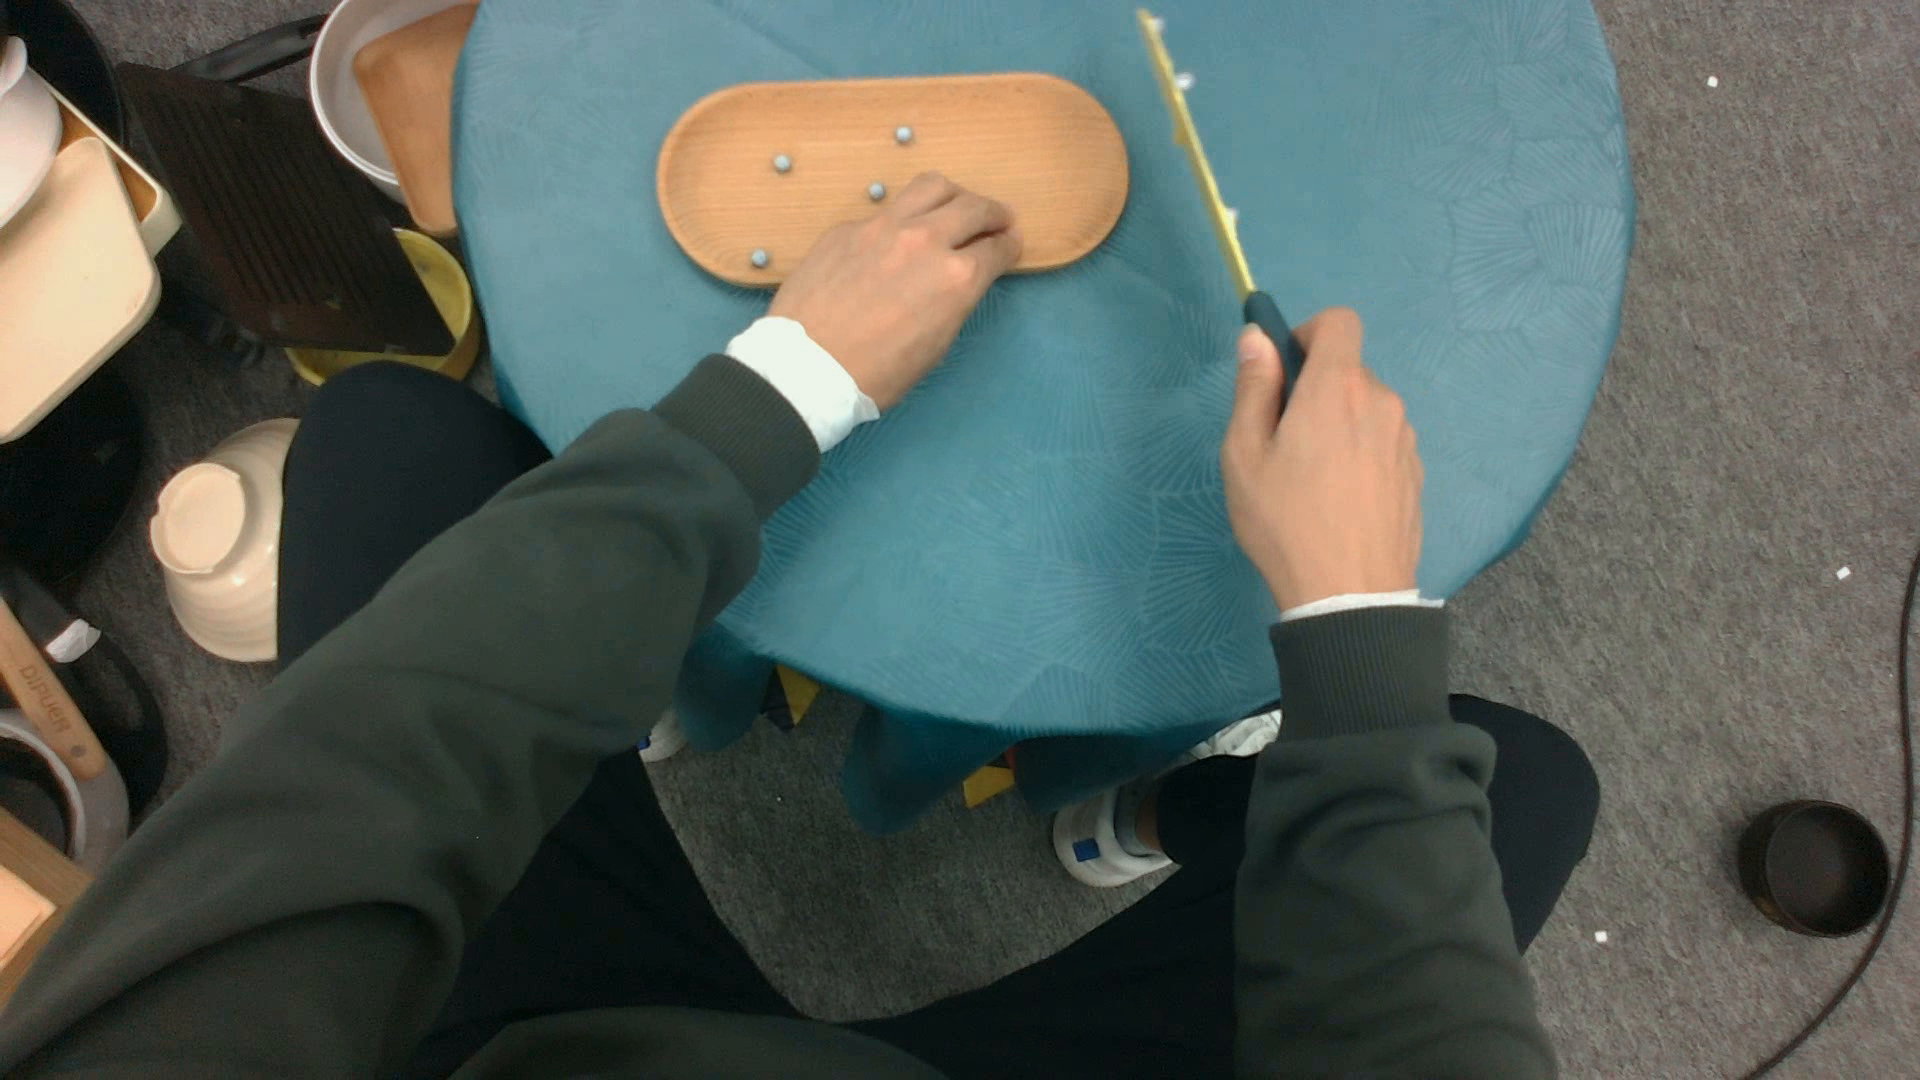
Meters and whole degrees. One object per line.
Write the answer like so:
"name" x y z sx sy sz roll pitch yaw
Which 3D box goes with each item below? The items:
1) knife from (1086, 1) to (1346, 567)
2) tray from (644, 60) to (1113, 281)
"knife" 0.113 -0.122 0.640 0.027 0.081 0.289 -23 83 8
"tray" -0.038 -0.183 0.681 0.231 0.020 0.102 -6 85 -9
